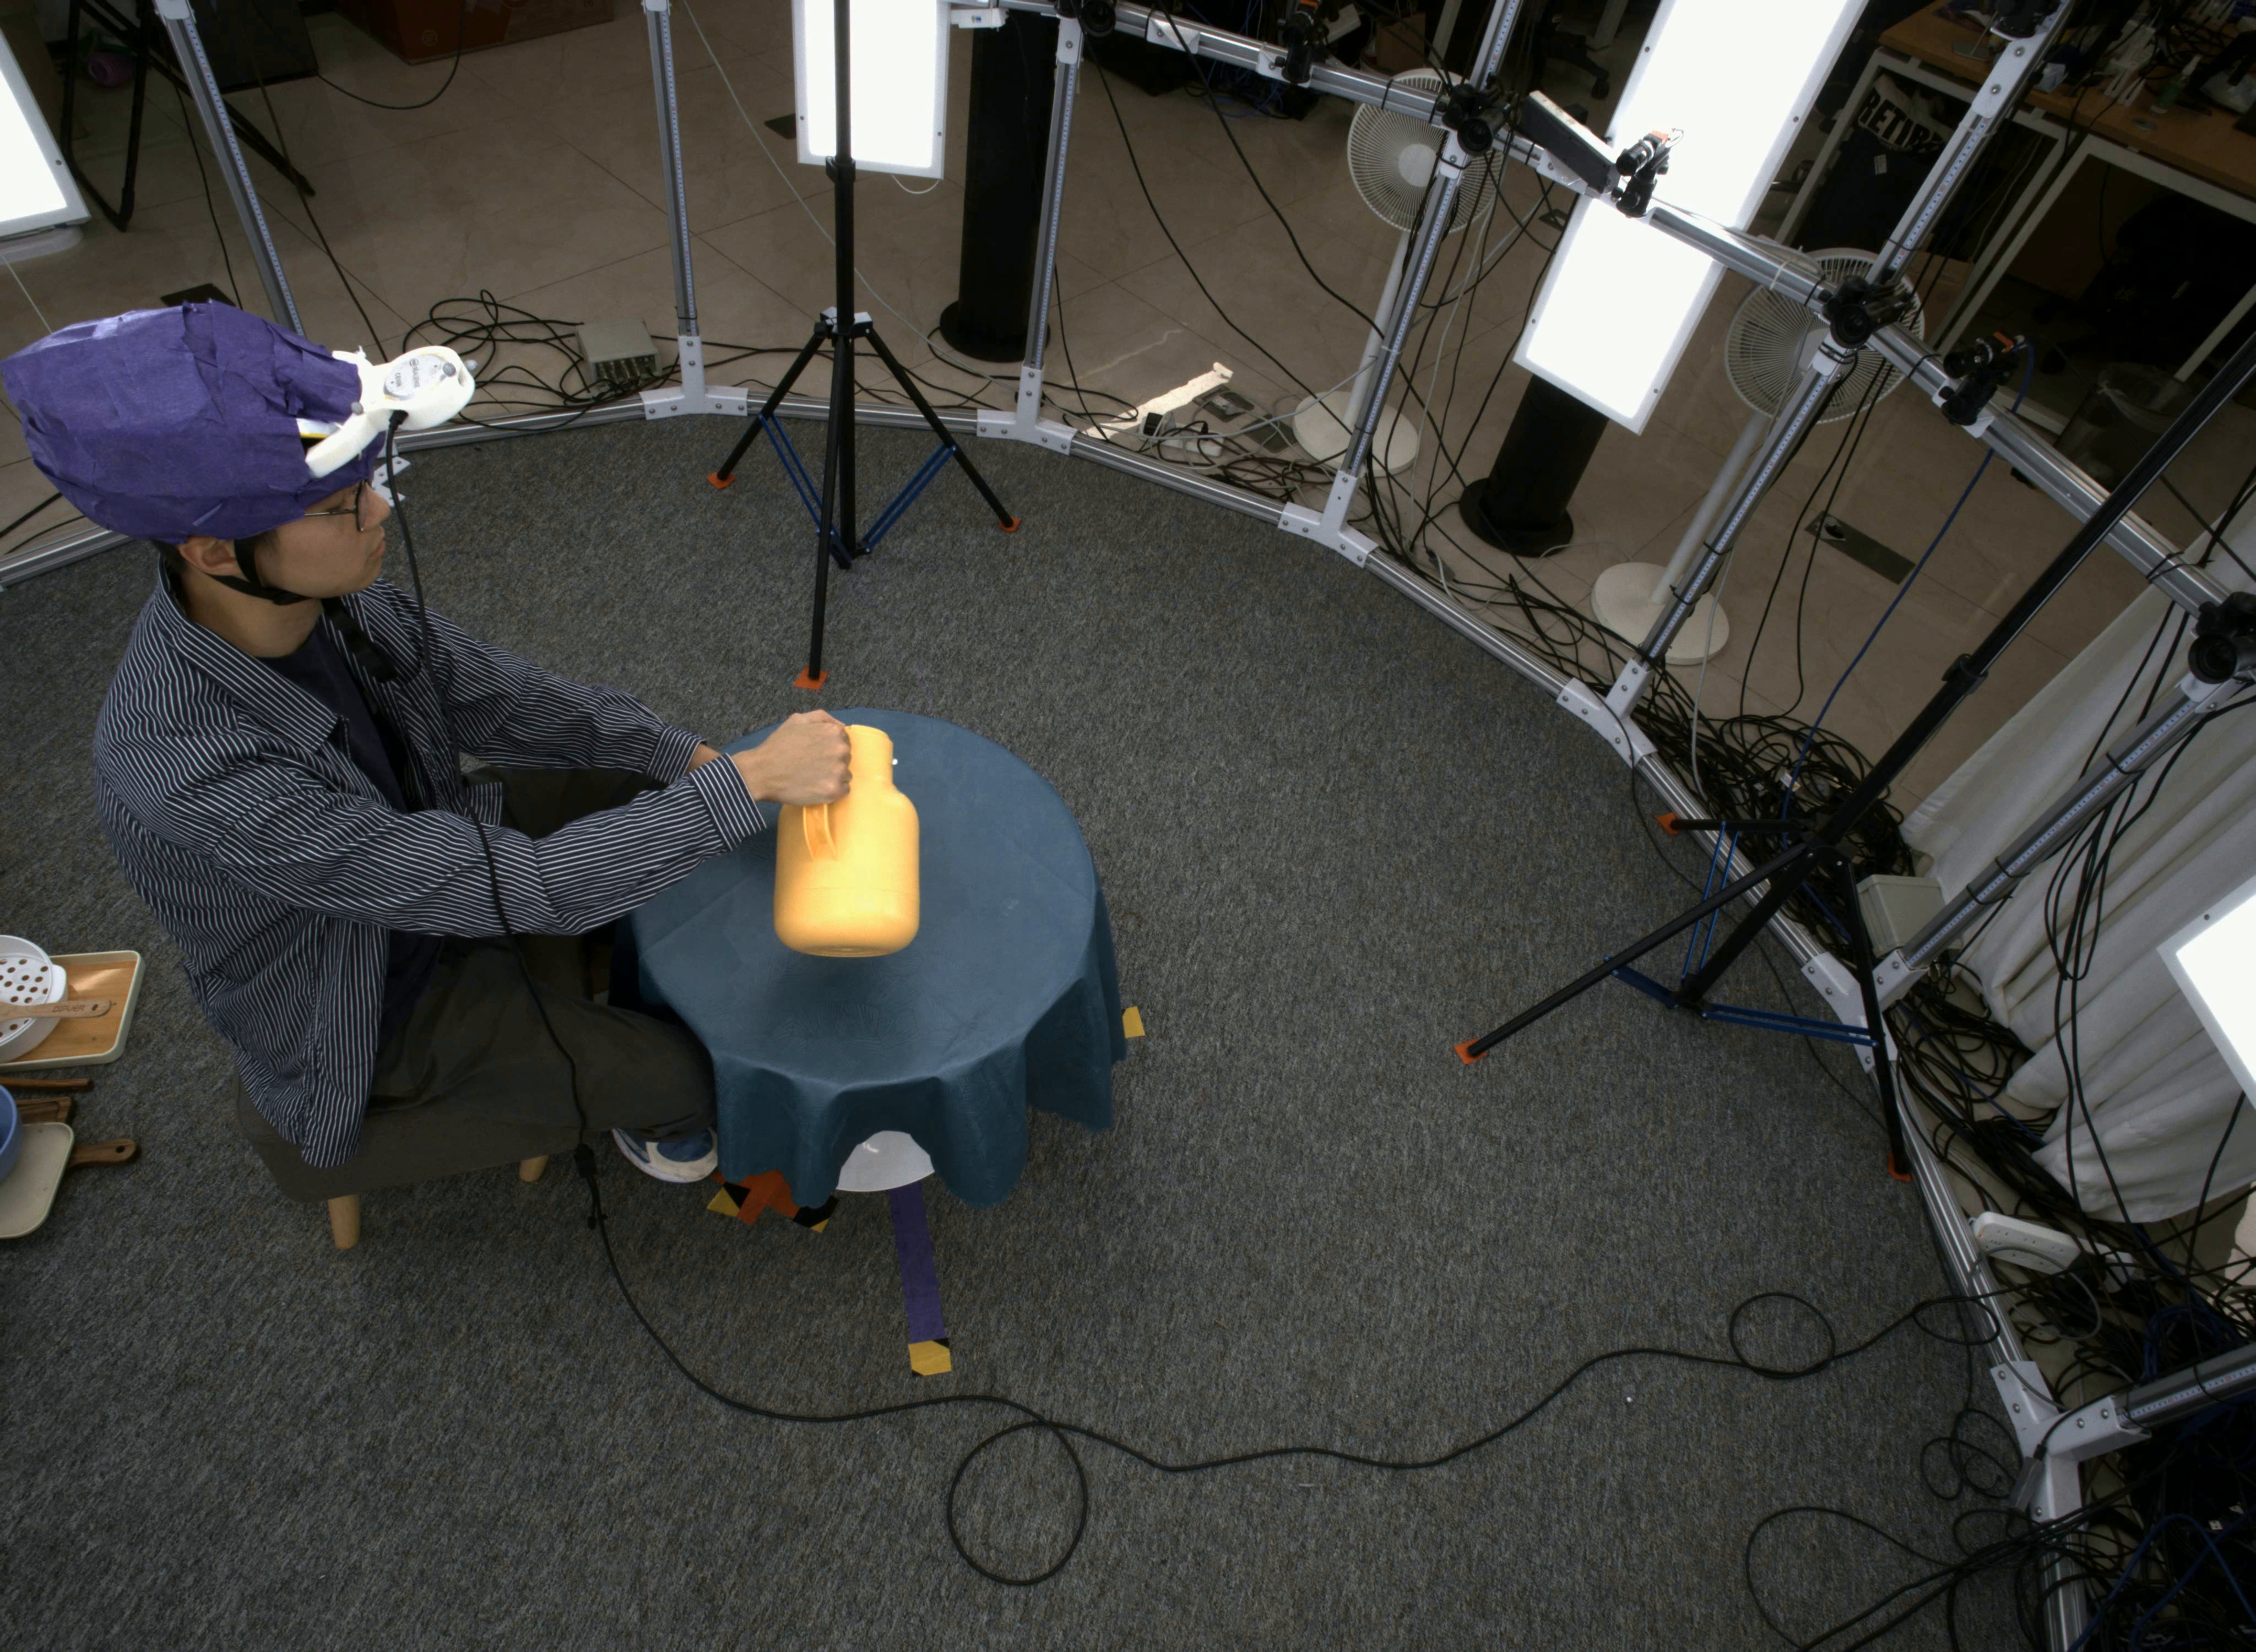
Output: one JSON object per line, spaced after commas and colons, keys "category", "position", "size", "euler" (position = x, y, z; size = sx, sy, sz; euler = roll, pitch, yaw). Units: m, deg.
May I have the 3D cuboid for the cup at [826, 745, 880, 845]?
{"category": "cup", "position": [-0.354, -0.039, 1.658], "size": [0.067, 0.134, 0.065], "euler": [8, 56, -10]}

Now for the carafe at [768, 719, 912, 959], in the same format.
{"category": "carafe", "position": [-0.334, 0.011, 1.485], "size": [0.161, 0.205, 0.261], "euler": [-3, 79, 4]}
